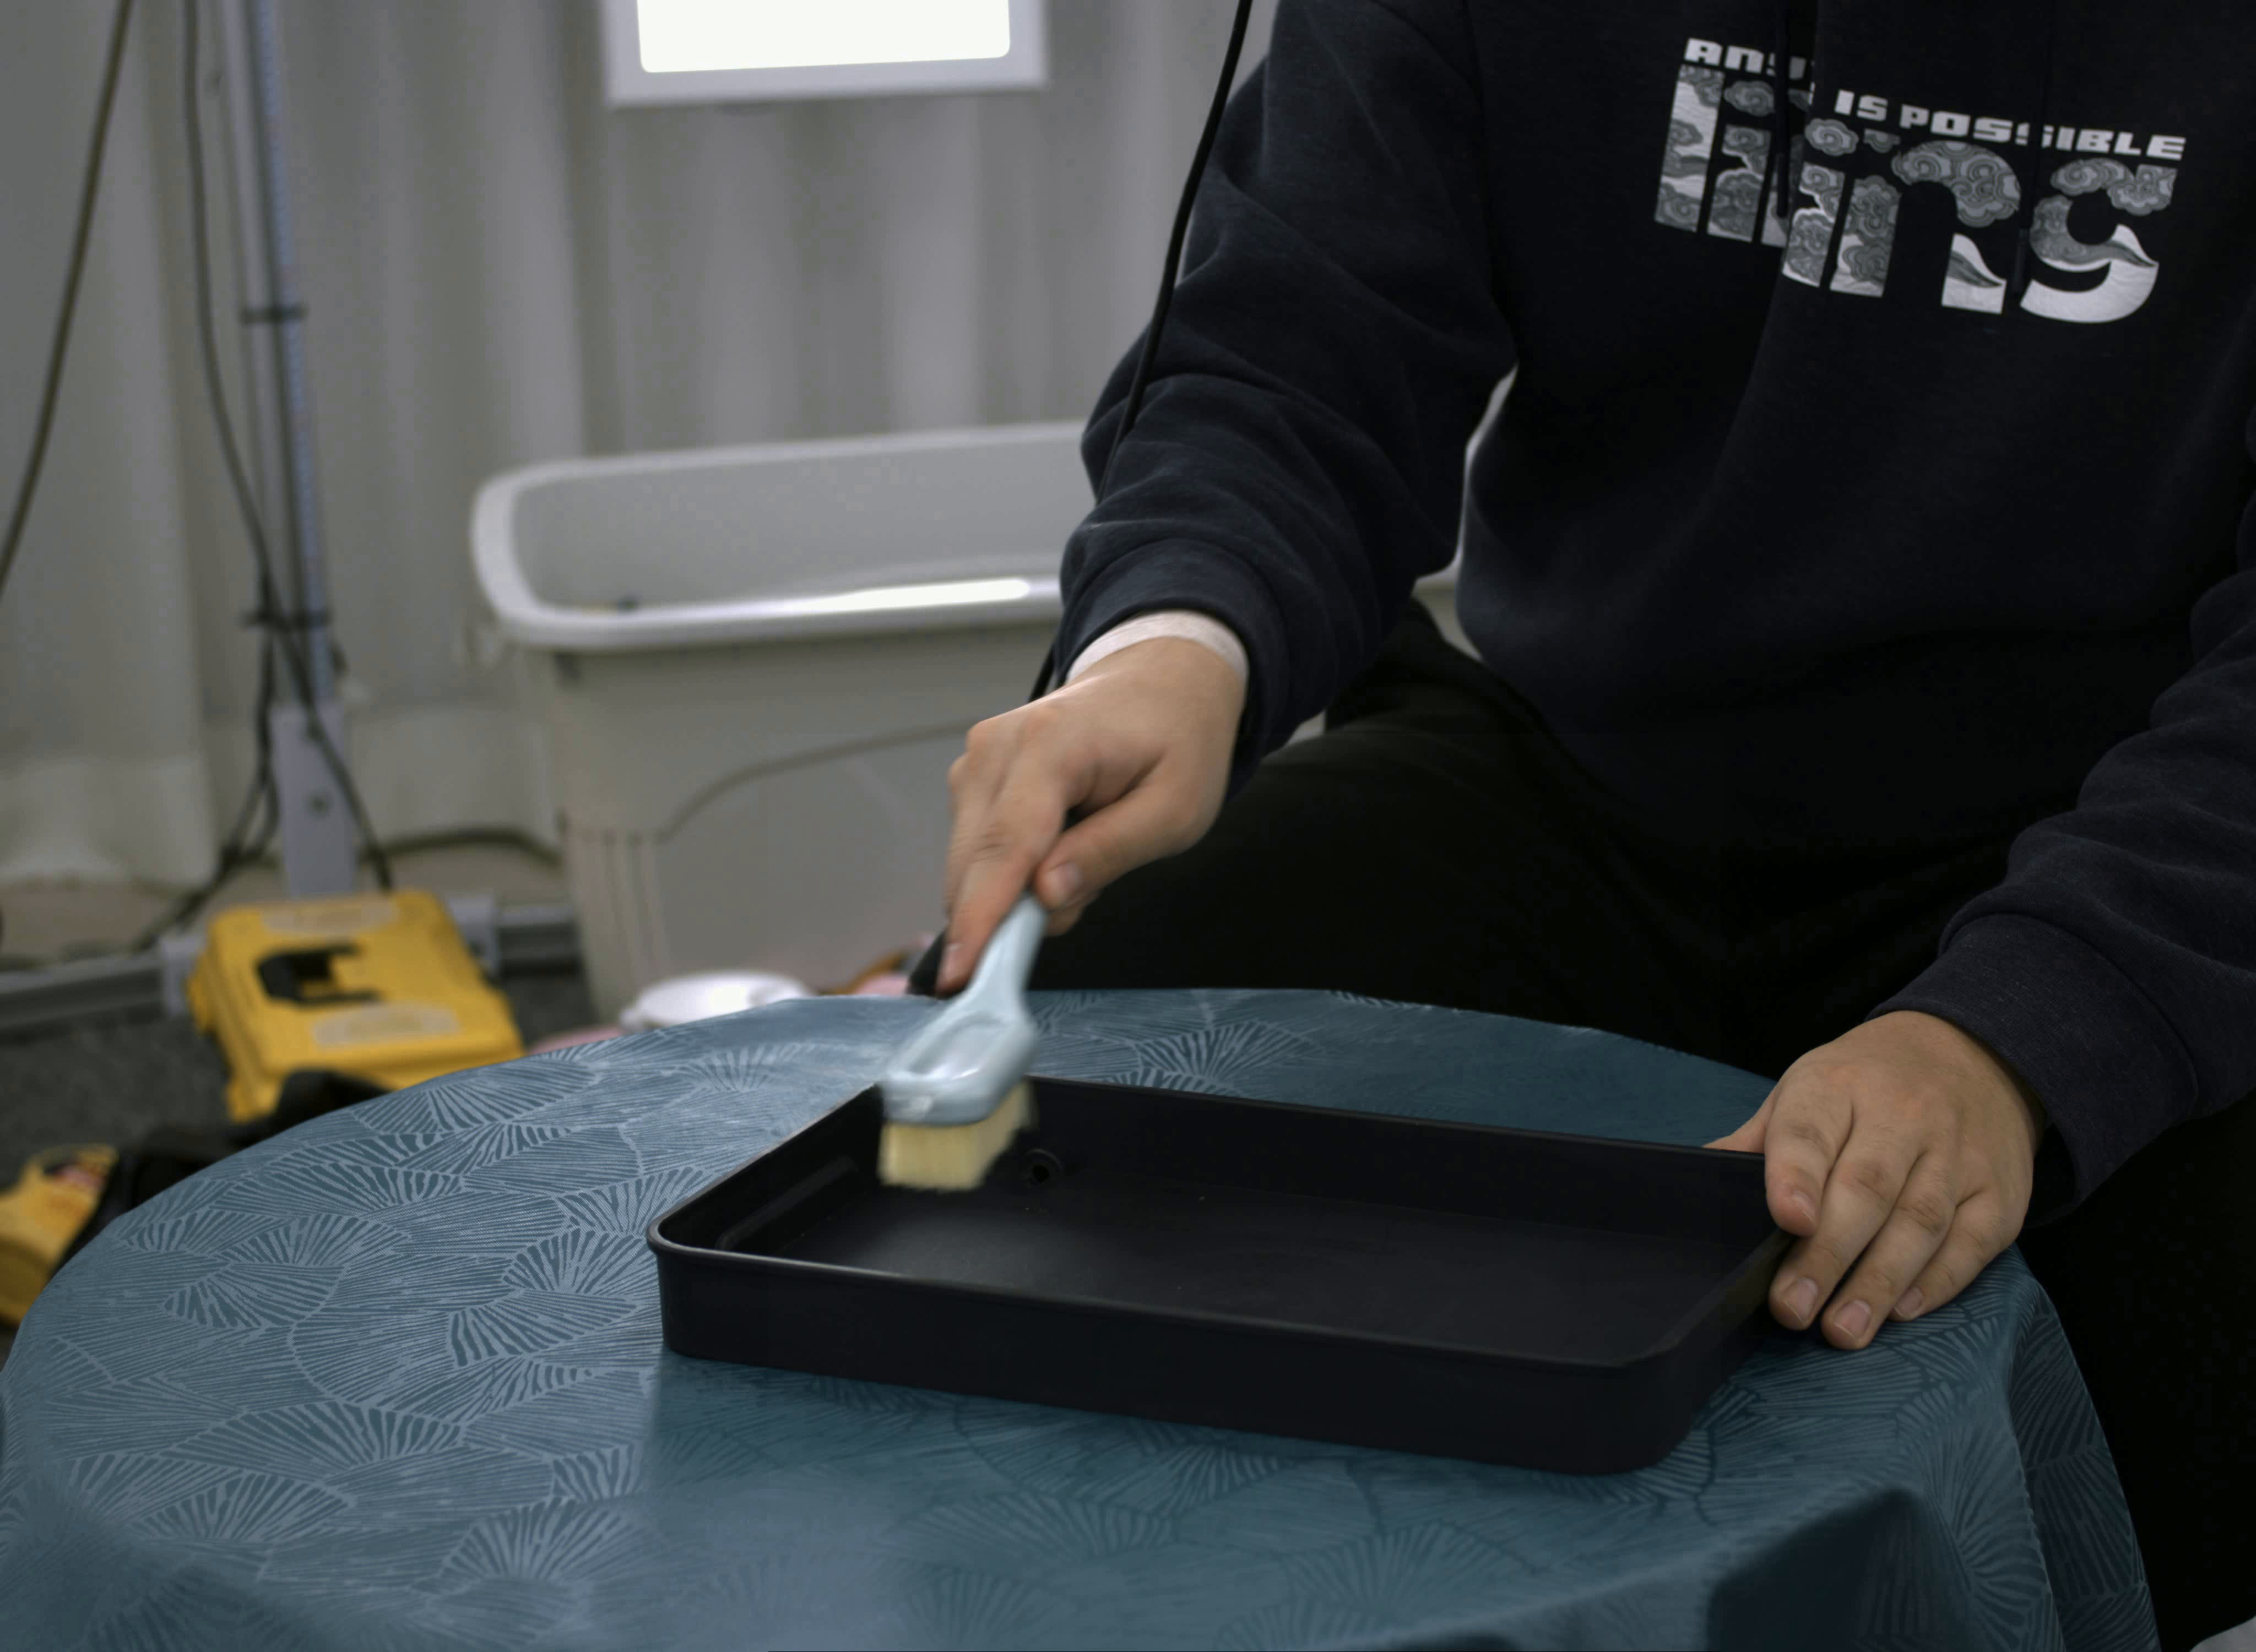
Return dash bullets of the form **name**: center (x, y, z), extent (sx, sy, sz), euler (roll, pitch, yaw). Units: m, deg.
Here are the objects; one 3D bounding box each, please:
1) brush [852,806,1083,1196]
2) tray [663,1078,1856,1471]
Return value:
- **brush**: center (-0.045, 0.051, 1.675), extent (0.038, 0.049, 0.231), euler (4, 26, 8)
- **tray**: center (0.039, 0.126, 1.597), extent (0.318, 0.037, 0.184), euler (4, 16, 24)
